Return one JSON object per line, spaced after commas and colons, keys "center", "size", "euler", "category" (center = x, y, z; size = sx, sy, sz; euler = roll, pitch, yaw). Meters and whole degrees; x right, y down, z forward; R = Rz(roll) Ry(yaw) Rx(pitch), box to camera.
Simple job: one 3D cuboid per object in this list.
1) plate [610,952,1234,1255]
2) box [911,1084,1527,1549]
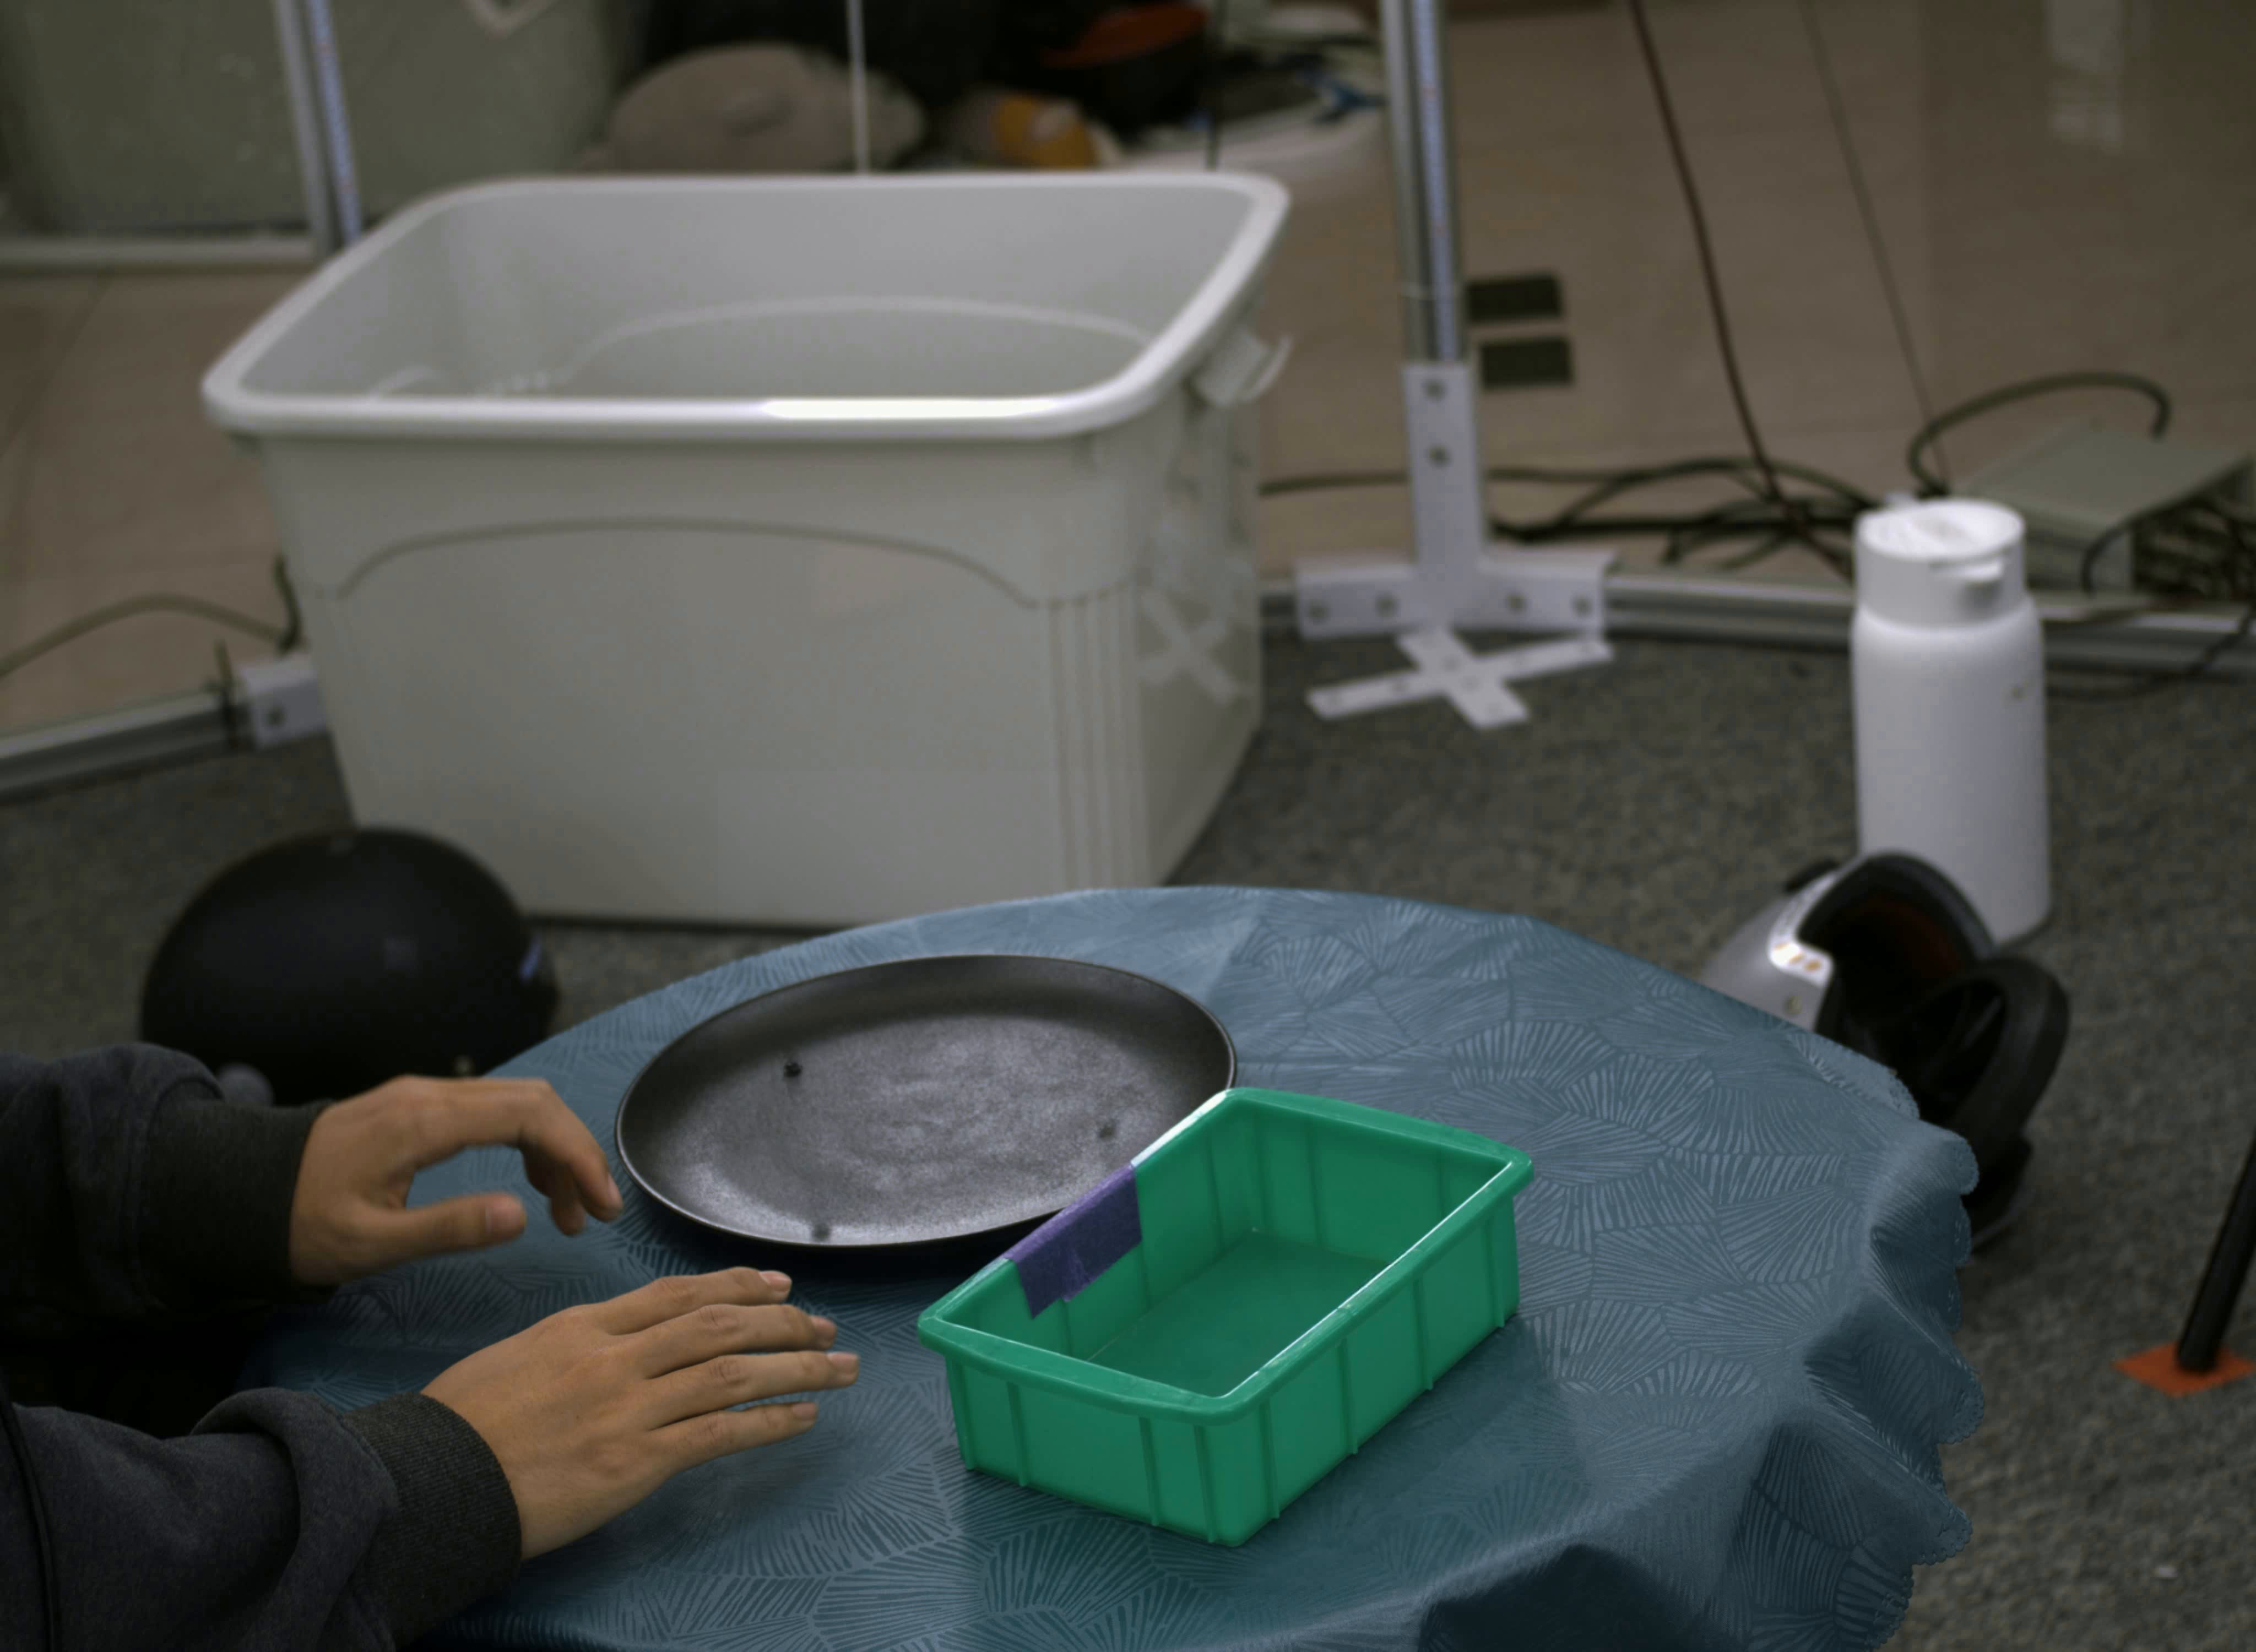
{"center": [-0.079, 0.112, 2.197], "size": [0.244, 0.024, 0.241], "euler": [-5, 25, 3], "category": "plate"}
{"center": [0.037, 0.171, 1.992], "size": [0.138, 0.066, 0.208], "euler": [10, 32, 35], "category": "box"}
